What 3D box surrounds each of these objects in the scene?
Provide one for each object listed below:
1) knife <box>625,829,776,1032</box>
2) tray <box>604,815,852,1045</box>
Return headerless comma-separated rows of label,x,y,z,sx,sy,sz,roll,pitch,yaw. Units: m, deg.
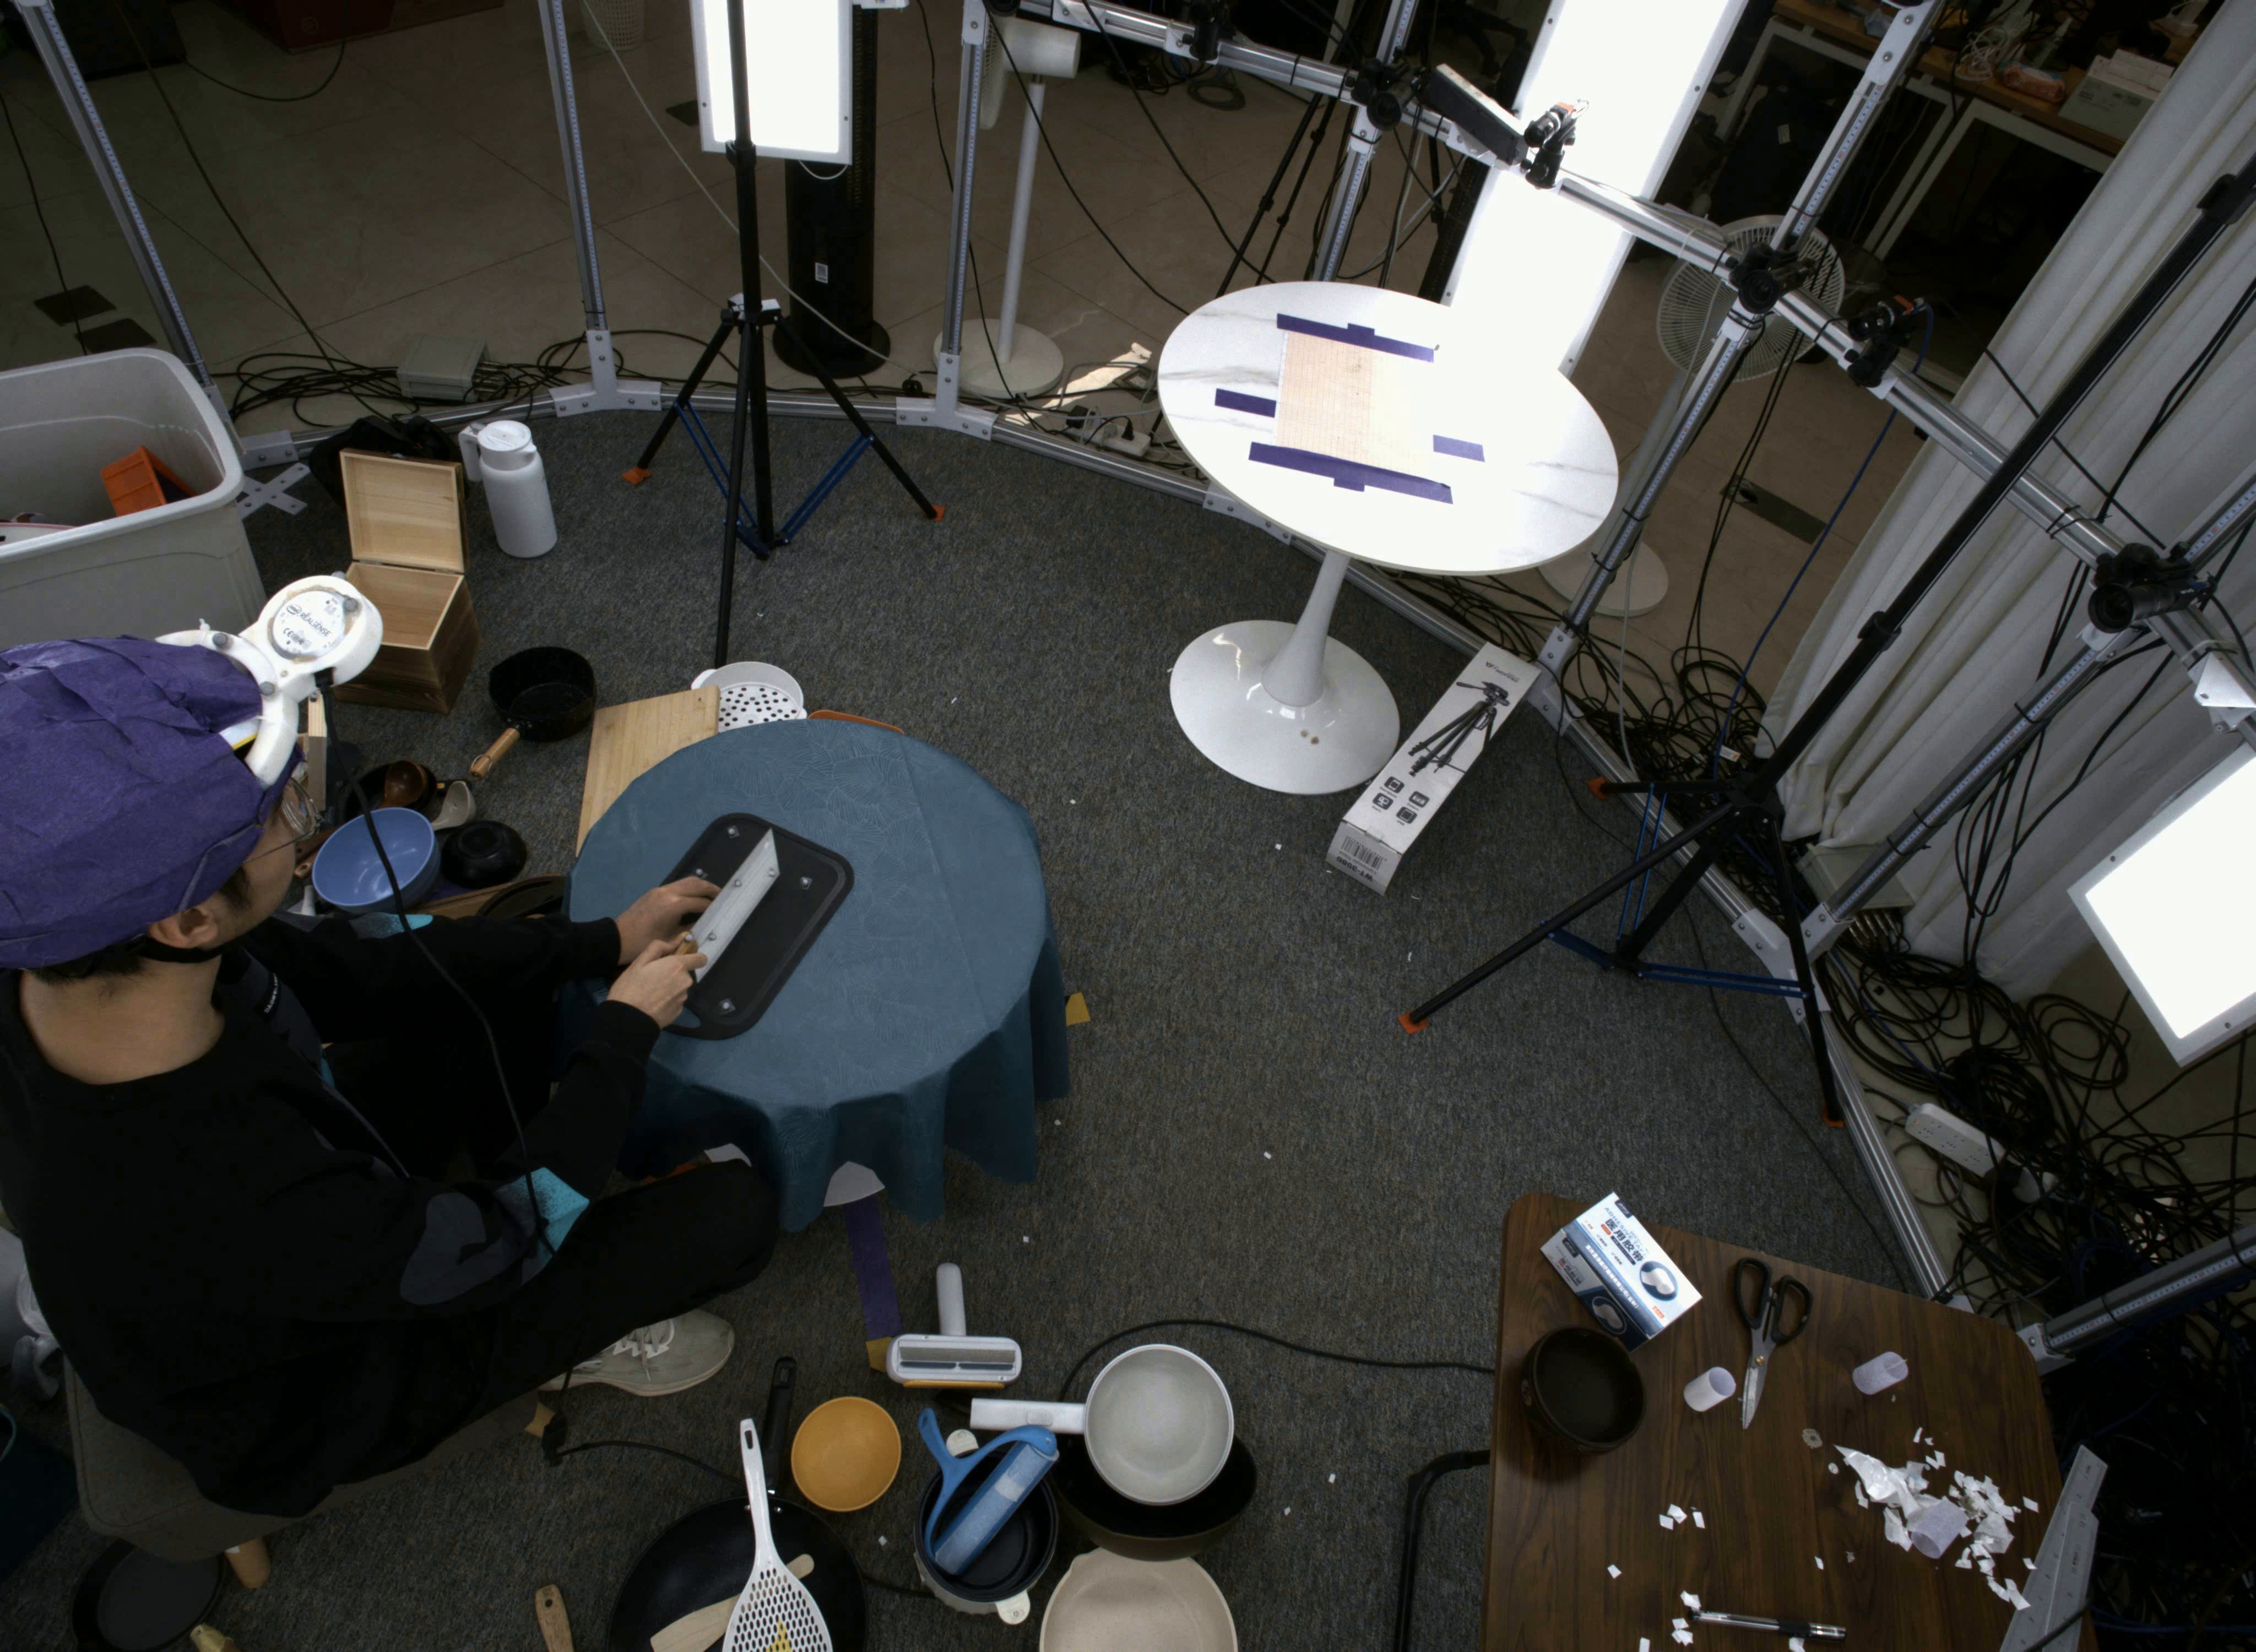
knife,-0.497,0.131,1.523,0.020,0.095,0.303,17,48,11
tray,-0.496,0.122,1.598,0.208,0.010,0.323,25,51,4
